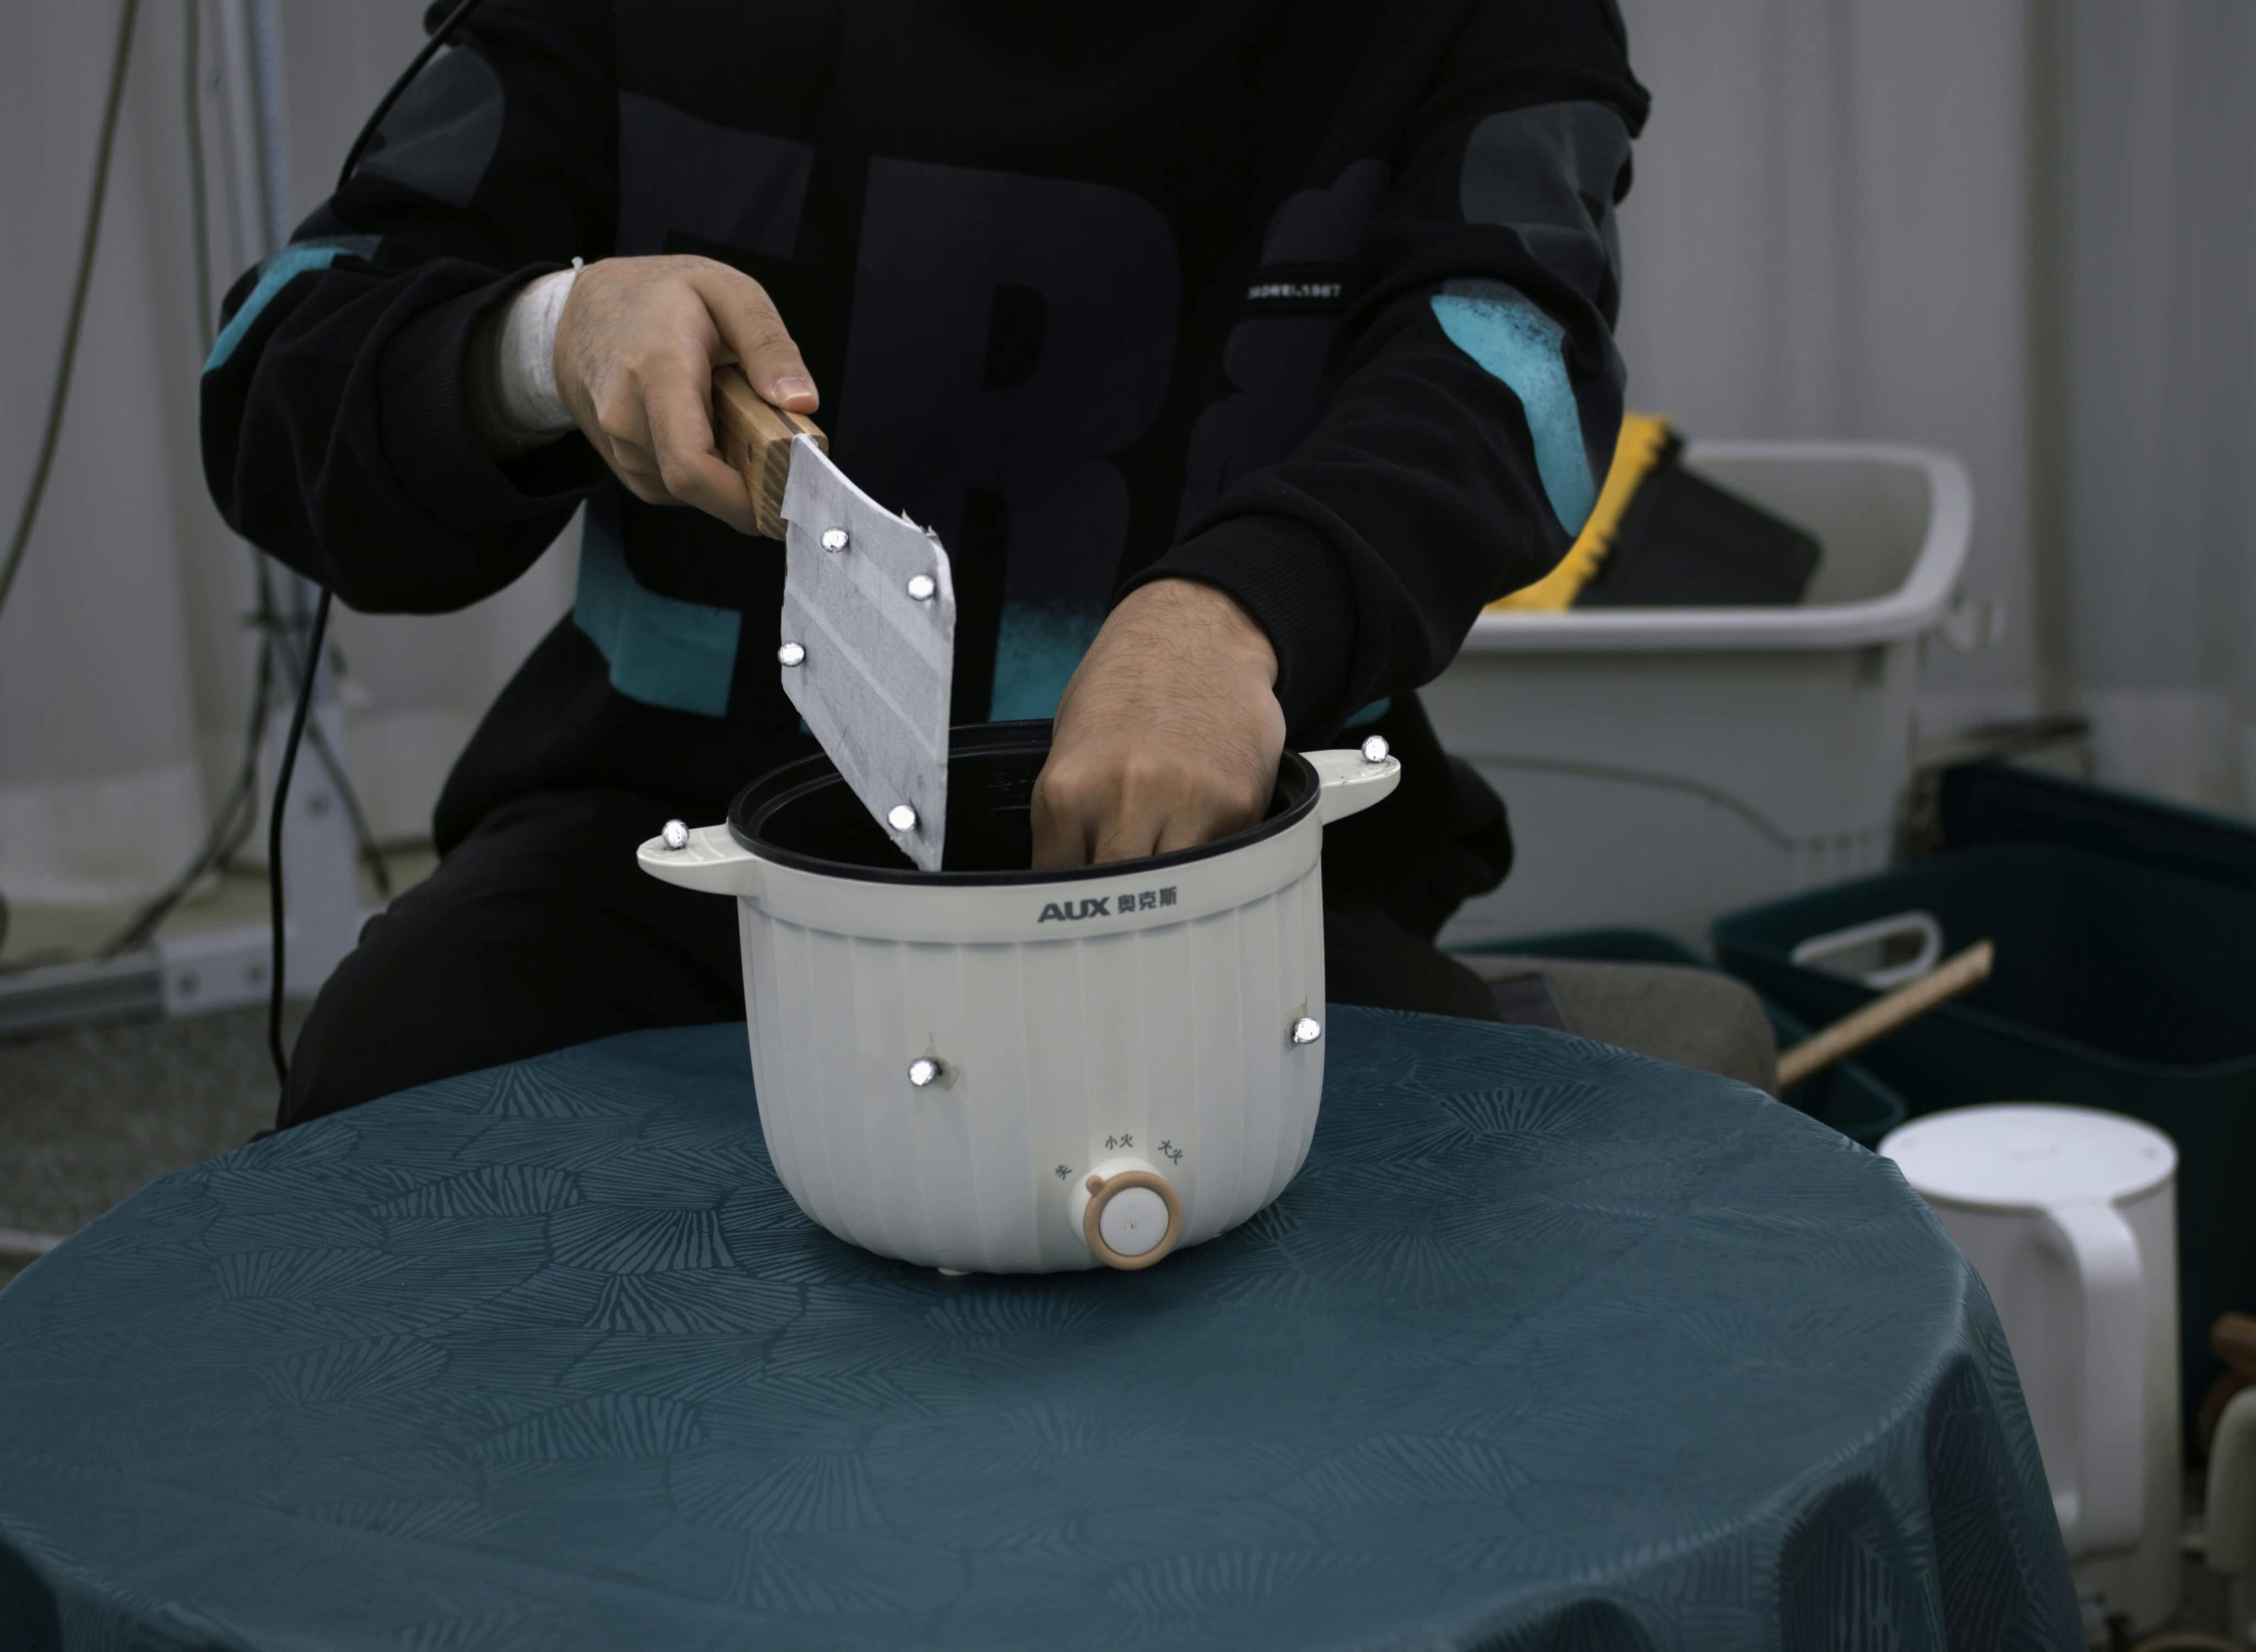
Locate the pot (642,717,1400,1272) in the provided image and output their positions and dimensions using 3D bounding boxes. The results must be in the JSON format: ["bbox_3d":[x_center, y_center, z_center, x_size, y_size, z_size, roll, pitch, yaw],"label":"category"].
[{"bbox_3d":[-0.025,0.054,1.679,0.239,0.142,0.192,-8,12,-15],"label":"pot"}]

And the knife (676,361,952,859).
[{"bbox_3d":[-0.097,-0.085,1.713,0.021,0.113,0.319,-2,23,-18],"label":"knife"}]
